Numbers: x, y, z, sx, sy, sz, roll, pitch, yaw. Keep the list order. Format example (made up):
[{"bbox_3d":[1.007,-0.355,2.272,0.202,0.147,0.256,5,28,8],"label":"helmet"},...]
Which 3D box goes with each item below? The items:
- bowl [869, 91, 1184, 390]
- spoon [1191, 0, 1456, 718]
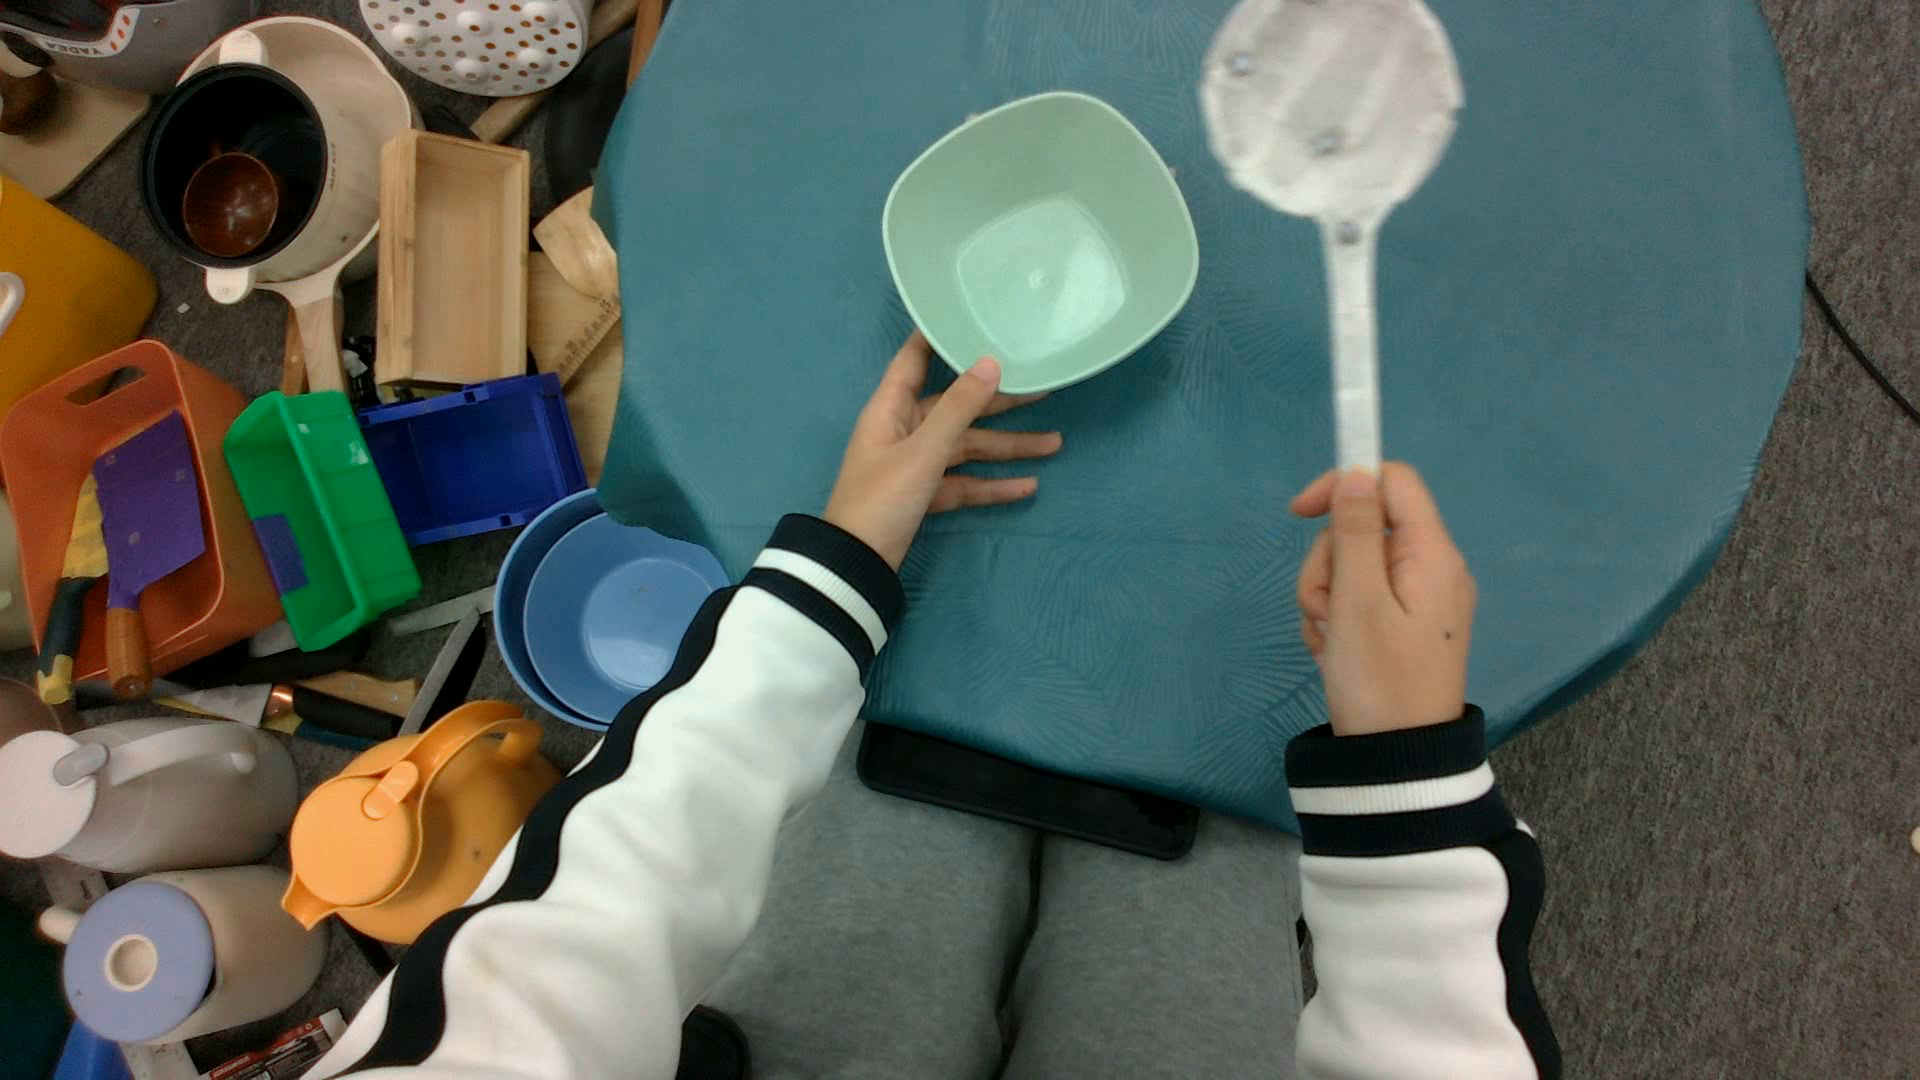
[{"bbox_3d":[0.032,-0.138,0.674,0.151,0.058,0.151,-1,79,4],"label":"bowl"},{"bbox_3d":[0.133,-0.071,0.523,0.100,0.059,0.277,1,85,32],"label":"spoon"}]
